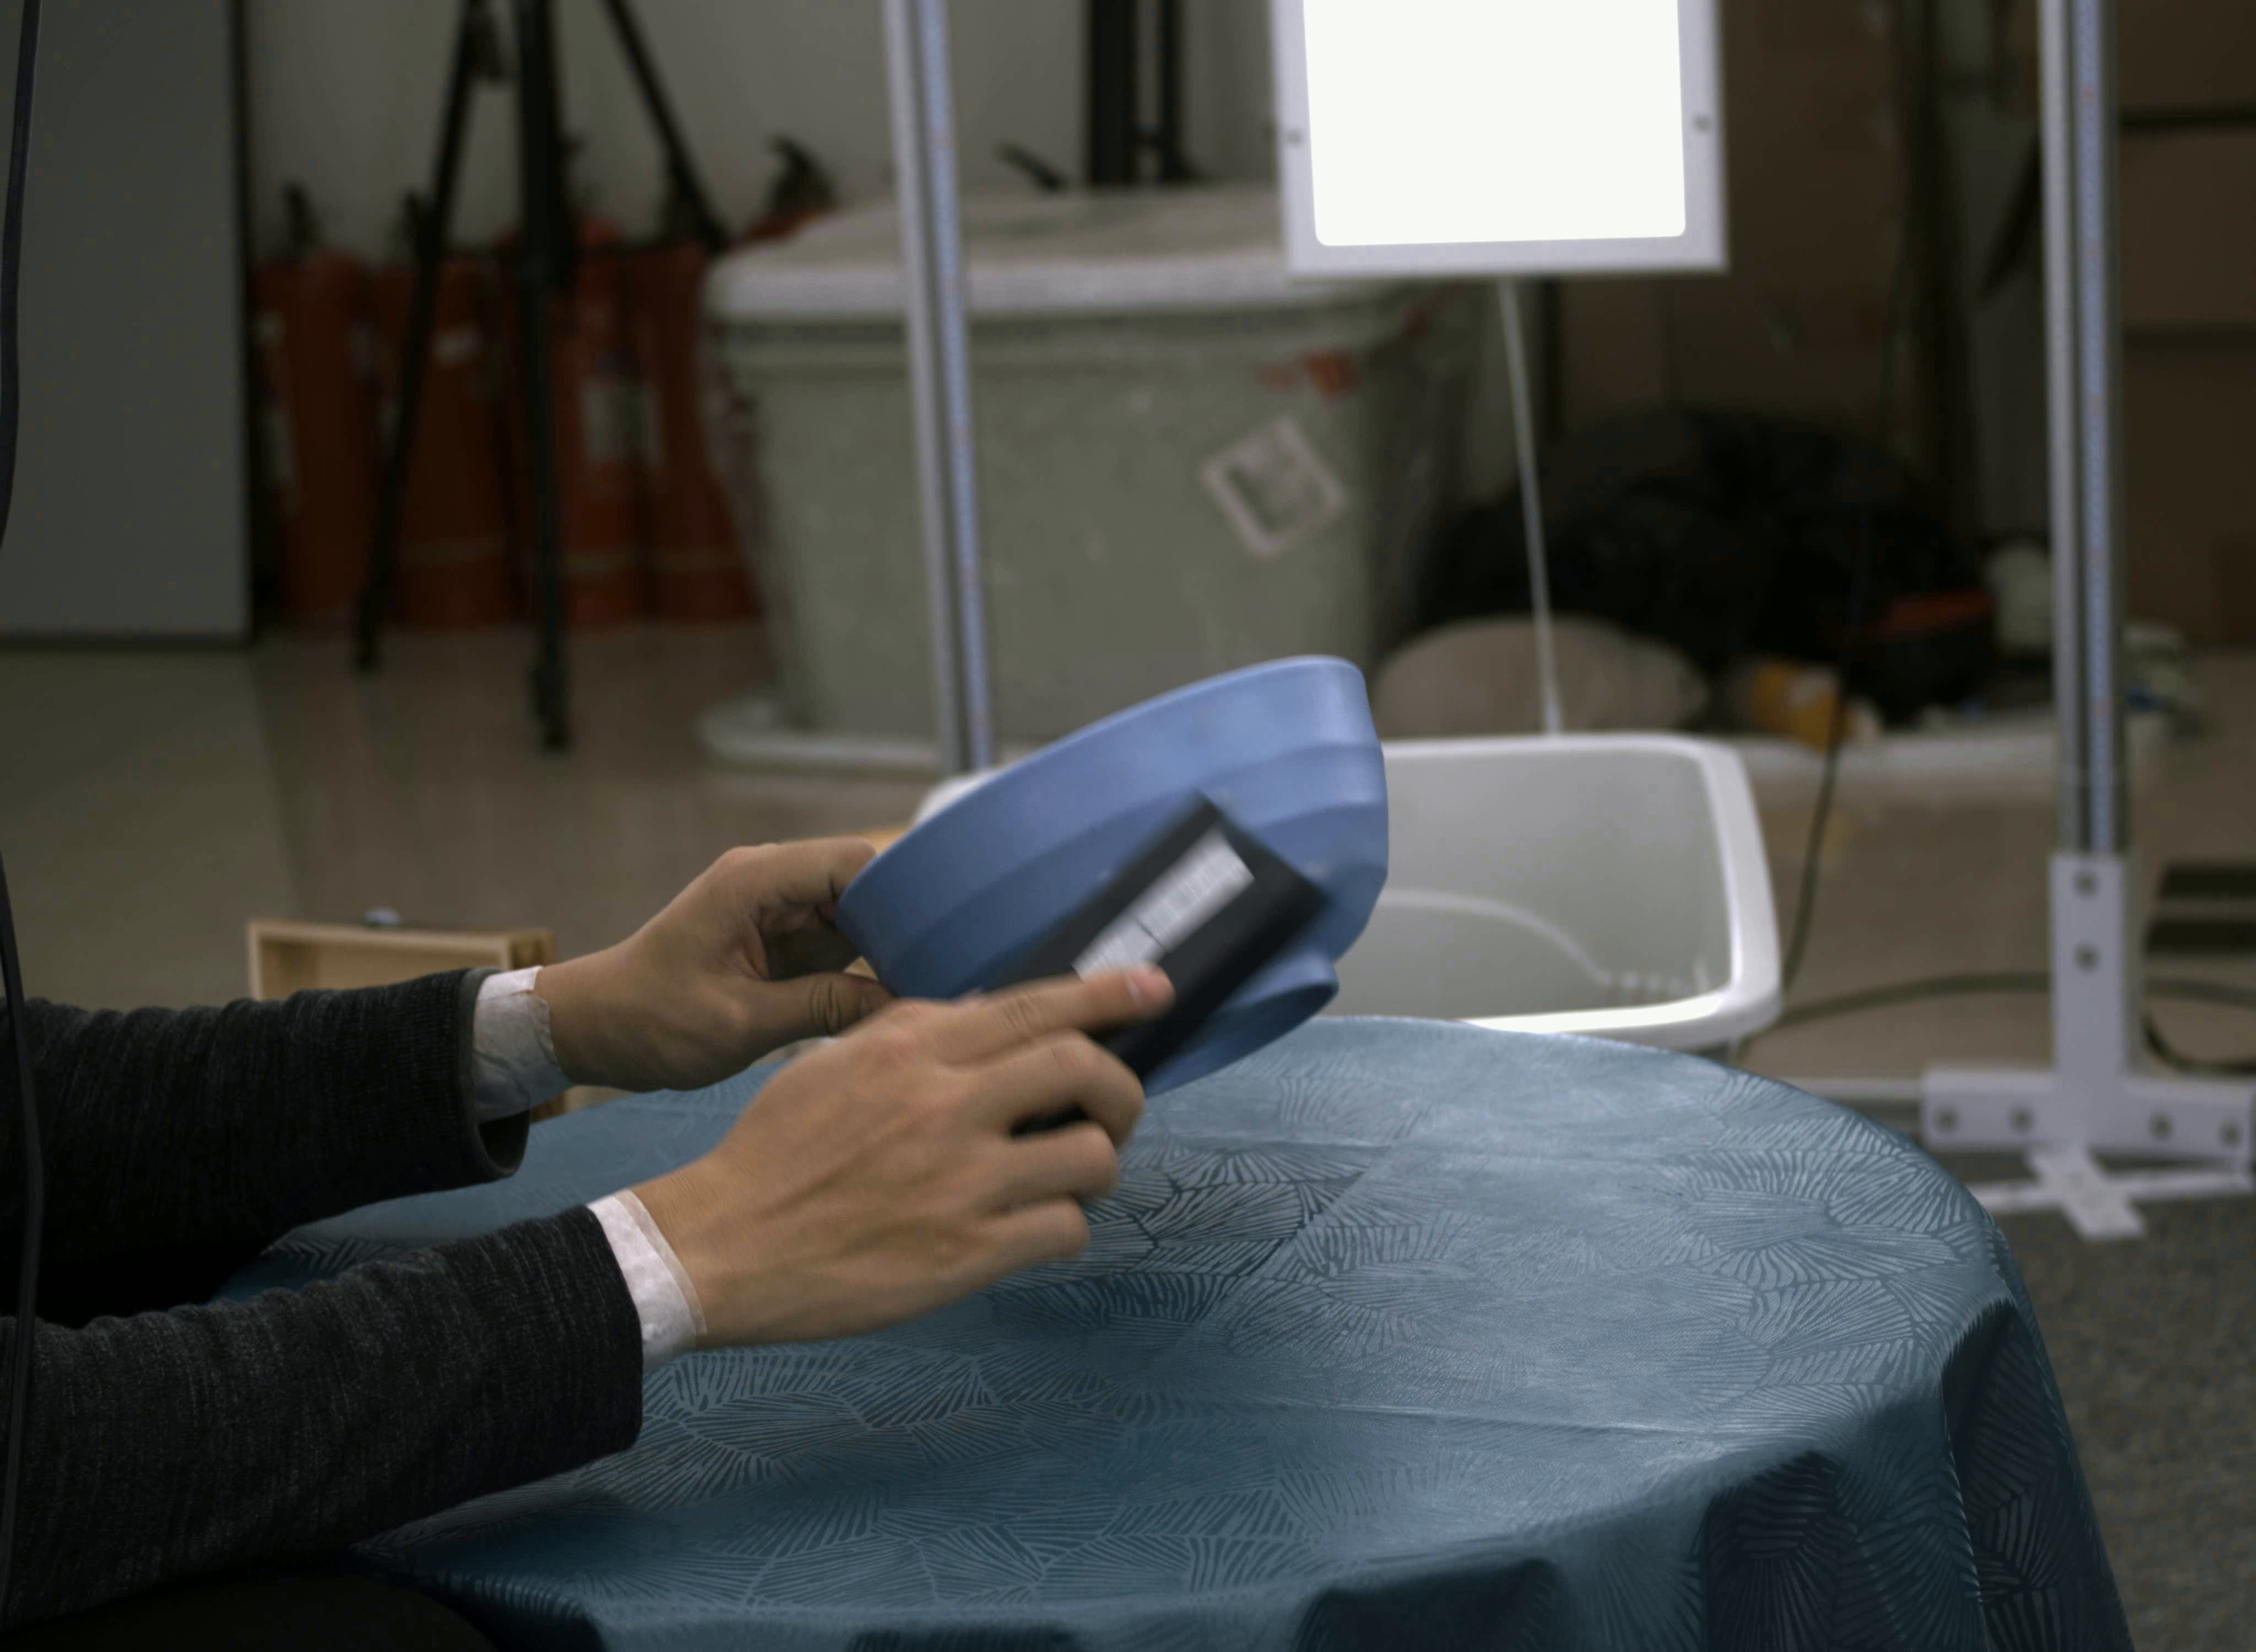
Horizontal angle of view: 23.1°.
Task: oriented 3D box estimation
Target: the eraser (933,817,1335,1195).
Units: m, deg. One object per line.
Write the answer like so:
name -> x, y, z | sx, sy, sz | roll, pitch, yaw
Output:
eraser -> 0.003, 0.054, 1.690 | 0.124, 0.030, 0.054 | -42, 55, -13

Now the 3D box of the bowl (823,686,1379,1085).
bowl -> 0.006, 0.036, 1.847 | 0.195, 0.096, 0.197 | -24, -6, -4
